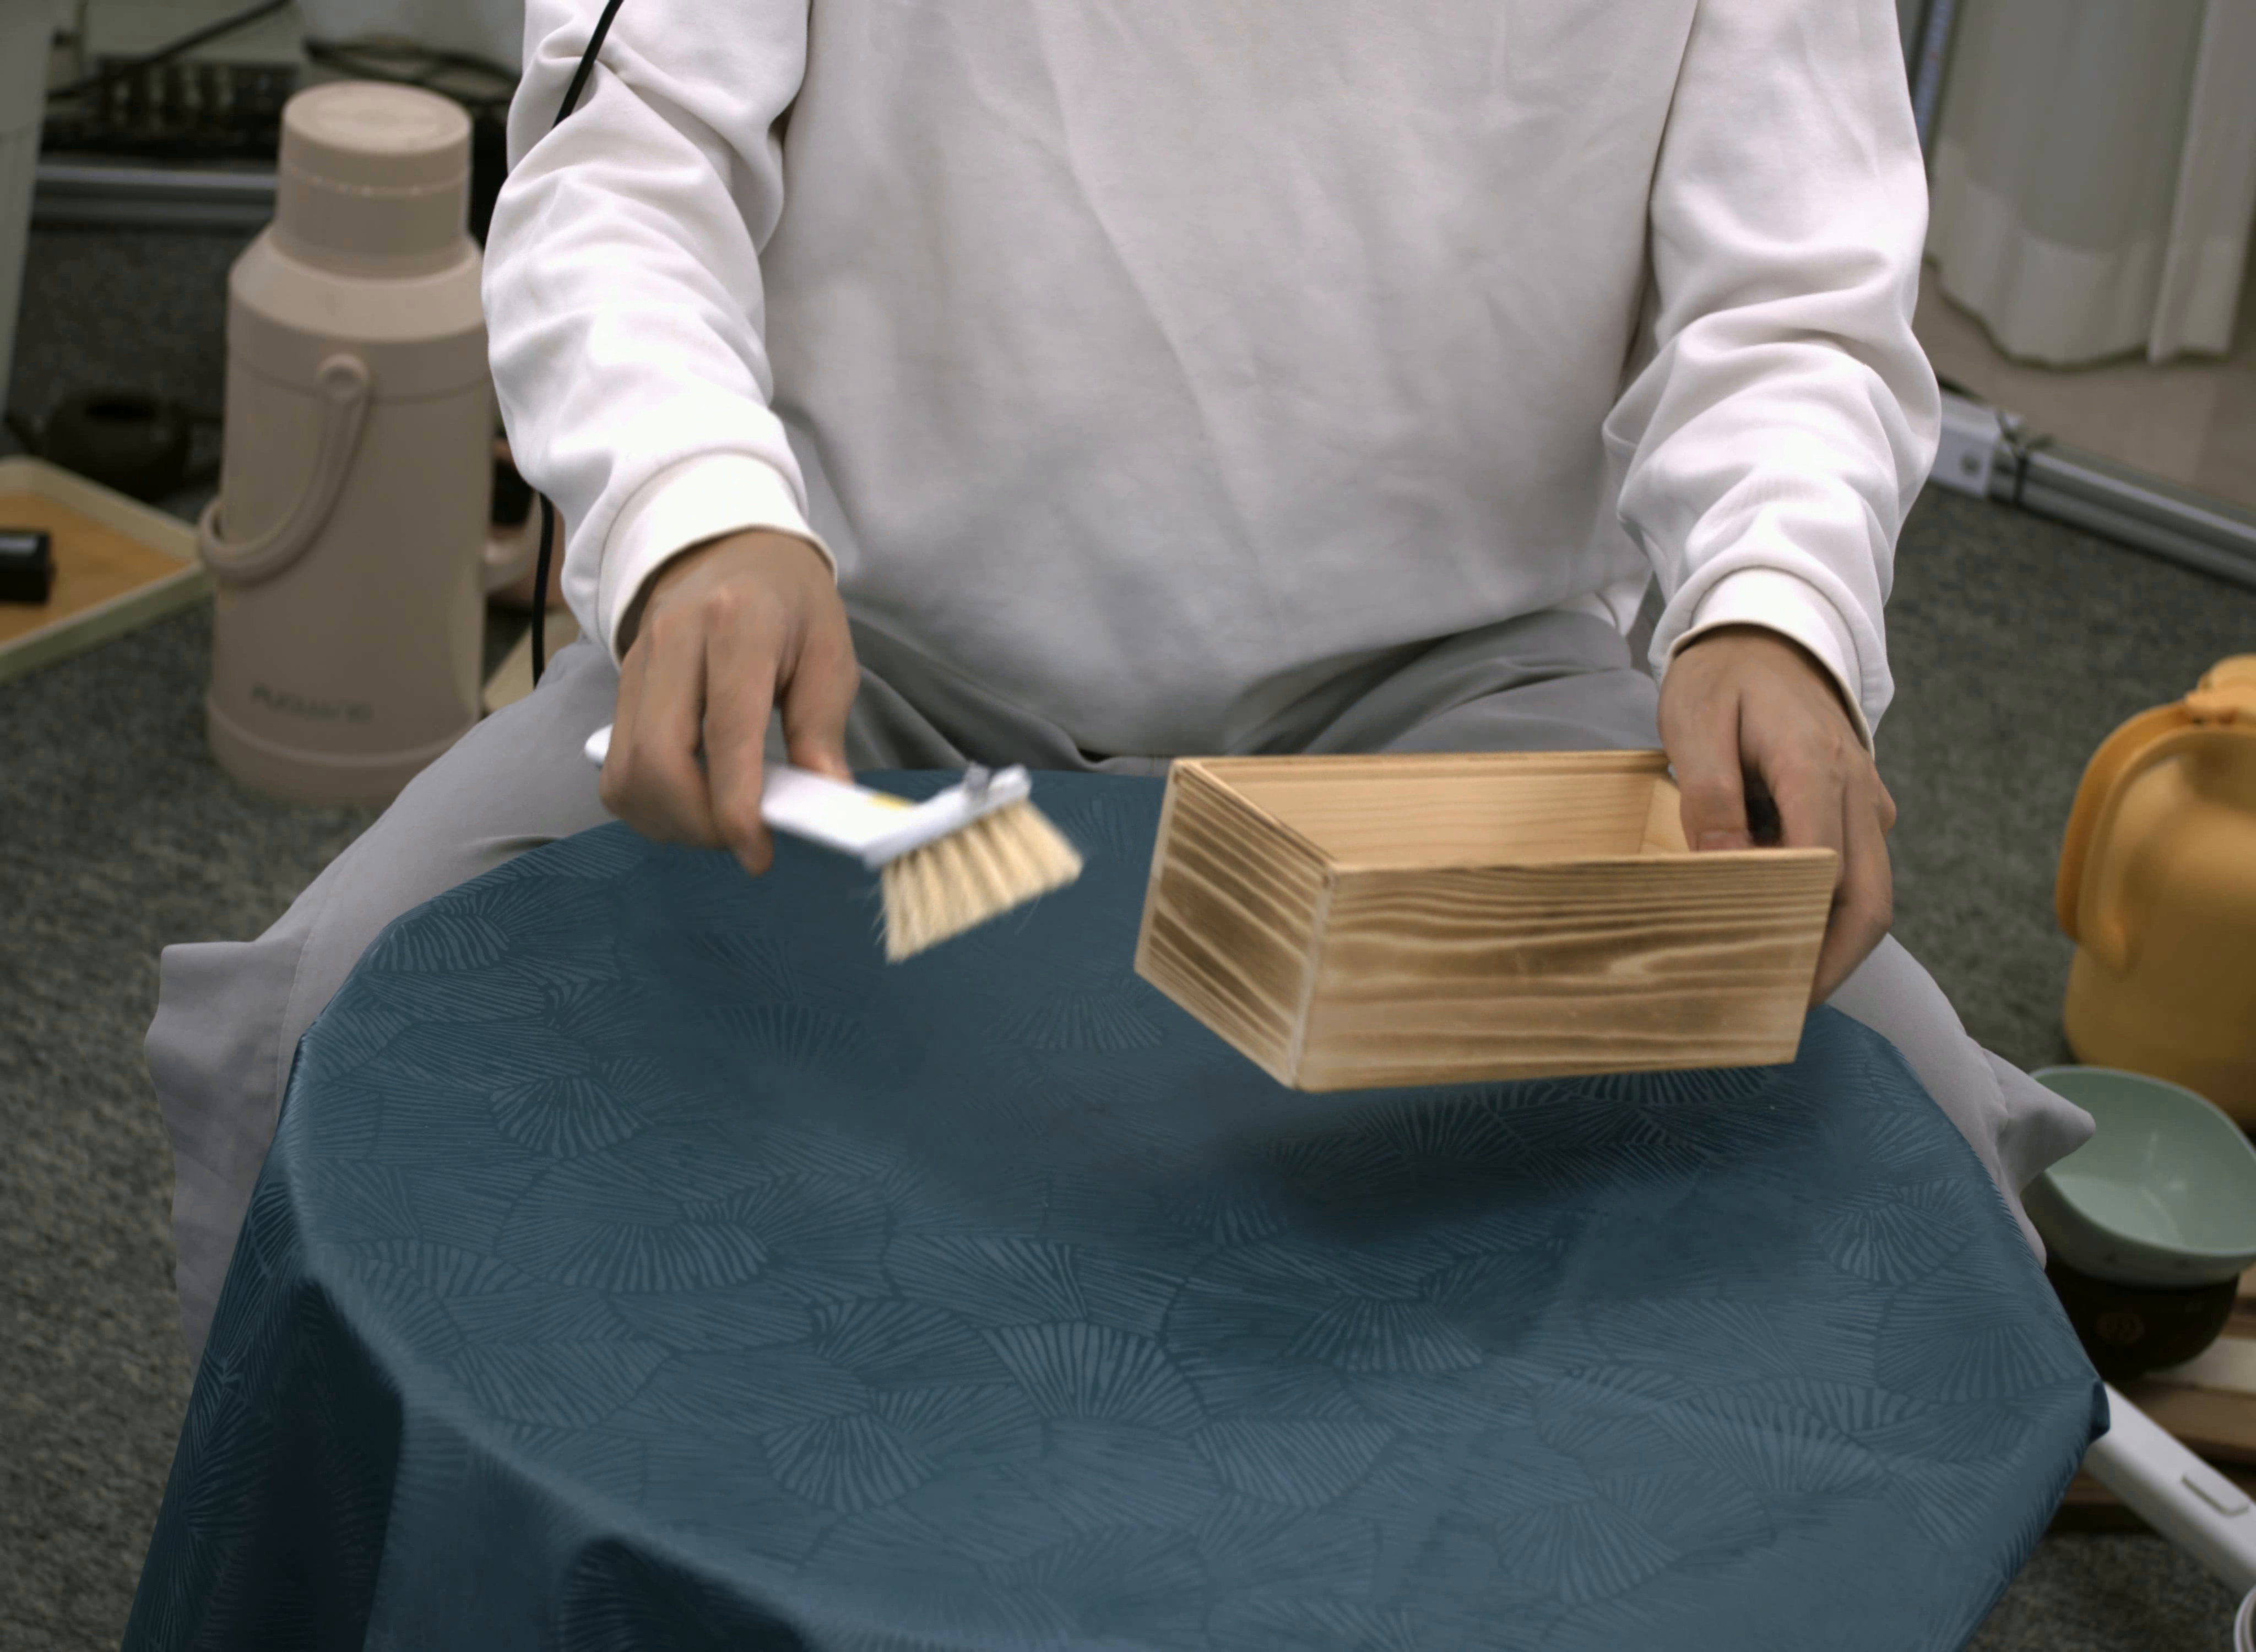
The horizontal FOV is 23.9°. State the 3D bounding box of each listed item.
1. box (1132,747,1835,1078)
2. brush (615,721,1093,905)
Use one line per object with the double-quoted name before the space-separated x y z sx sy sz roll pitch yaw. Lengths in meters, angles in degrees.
"box" 0.122 0.027 1.825 0.210 0.080 0.108 -1 20 -31
"brush" -0.100 -0.003 1.811 0.068 0.056 0.268 -11 5 -32
